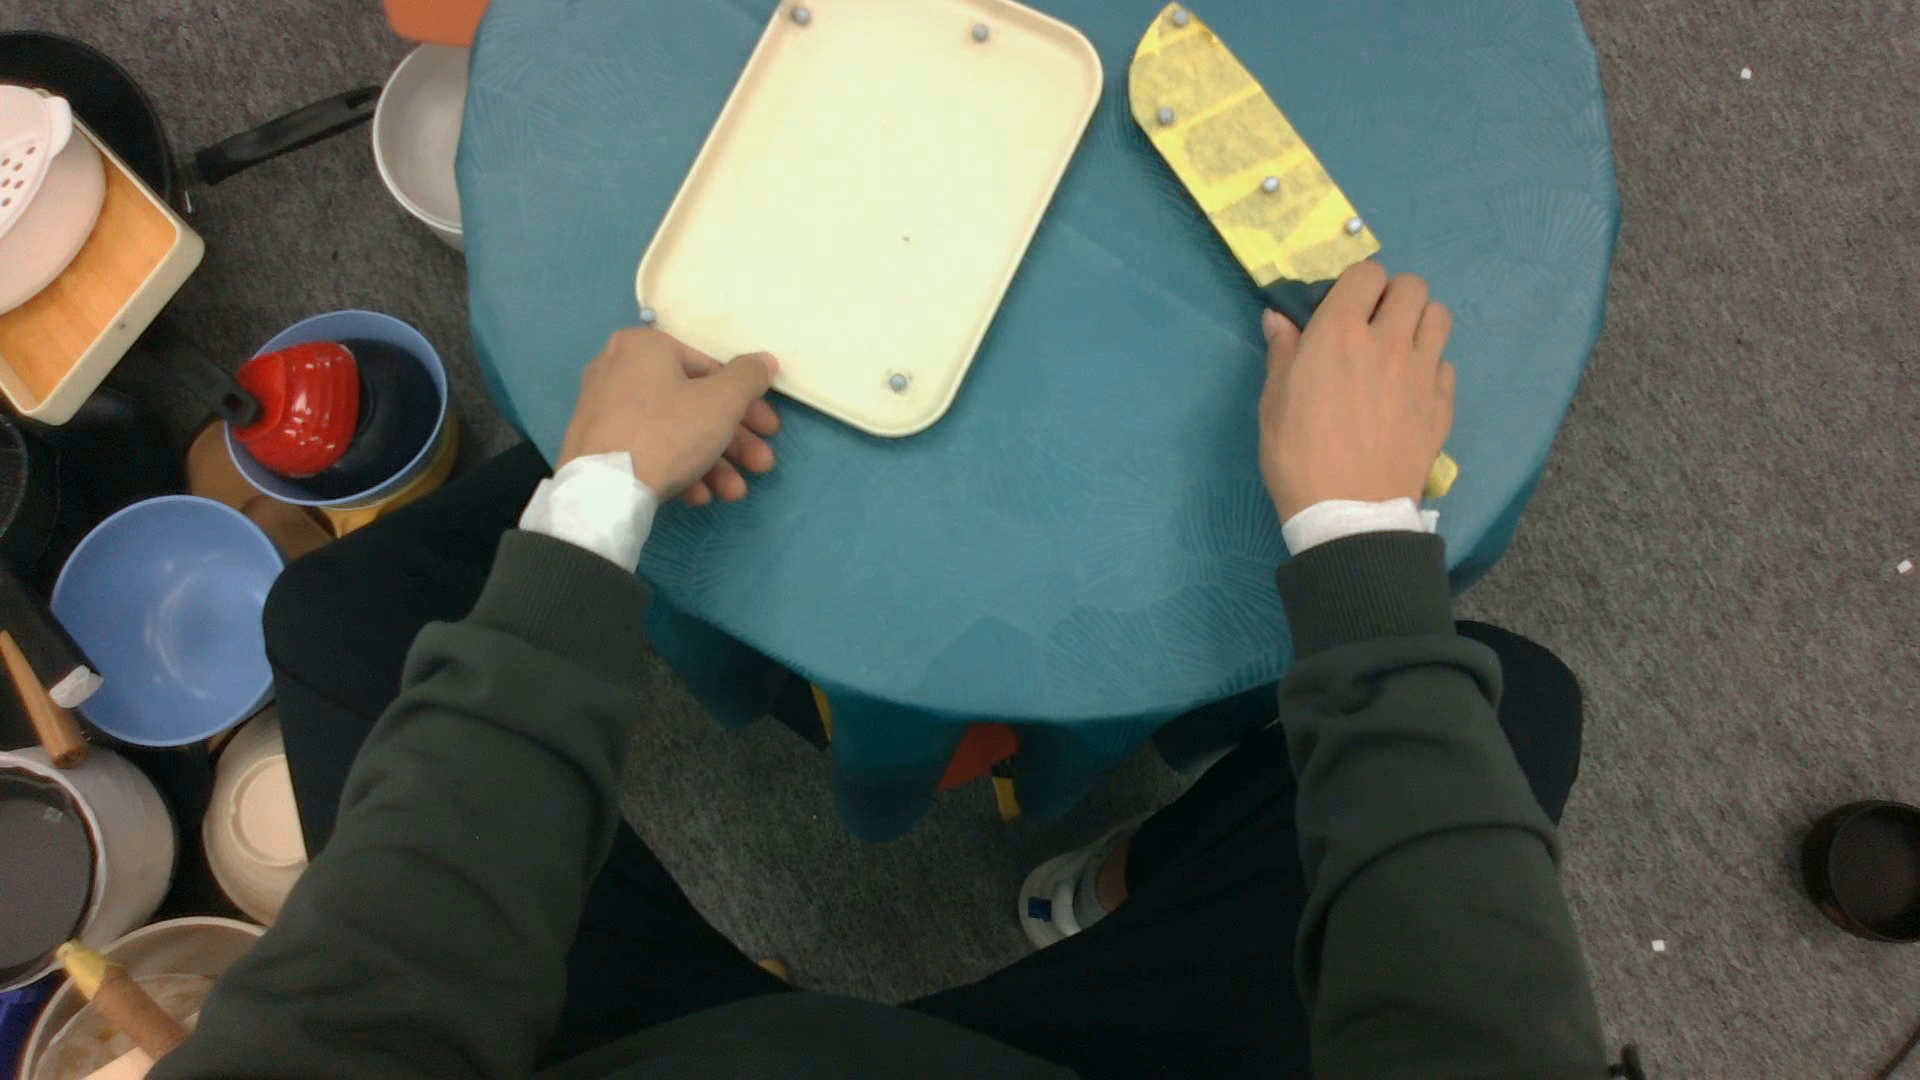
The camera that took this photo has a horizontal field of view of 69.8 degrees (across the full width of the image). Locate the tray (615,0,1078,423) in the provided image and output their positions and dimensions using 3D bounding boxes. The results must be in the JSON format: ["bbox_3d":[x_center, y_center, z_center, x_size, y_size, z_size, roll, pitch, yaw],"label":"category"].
[{"bbox_3d":[-0.055,-0.187,0.700,0.171,0.017,0.240,25,80,2],"label":"tray"}]

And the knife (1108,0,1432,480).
[{"bbox_3d":[0.161,-0.159,0.701,0.081,0.027,0.289,-26,81,-22],"label":"knife"}]
